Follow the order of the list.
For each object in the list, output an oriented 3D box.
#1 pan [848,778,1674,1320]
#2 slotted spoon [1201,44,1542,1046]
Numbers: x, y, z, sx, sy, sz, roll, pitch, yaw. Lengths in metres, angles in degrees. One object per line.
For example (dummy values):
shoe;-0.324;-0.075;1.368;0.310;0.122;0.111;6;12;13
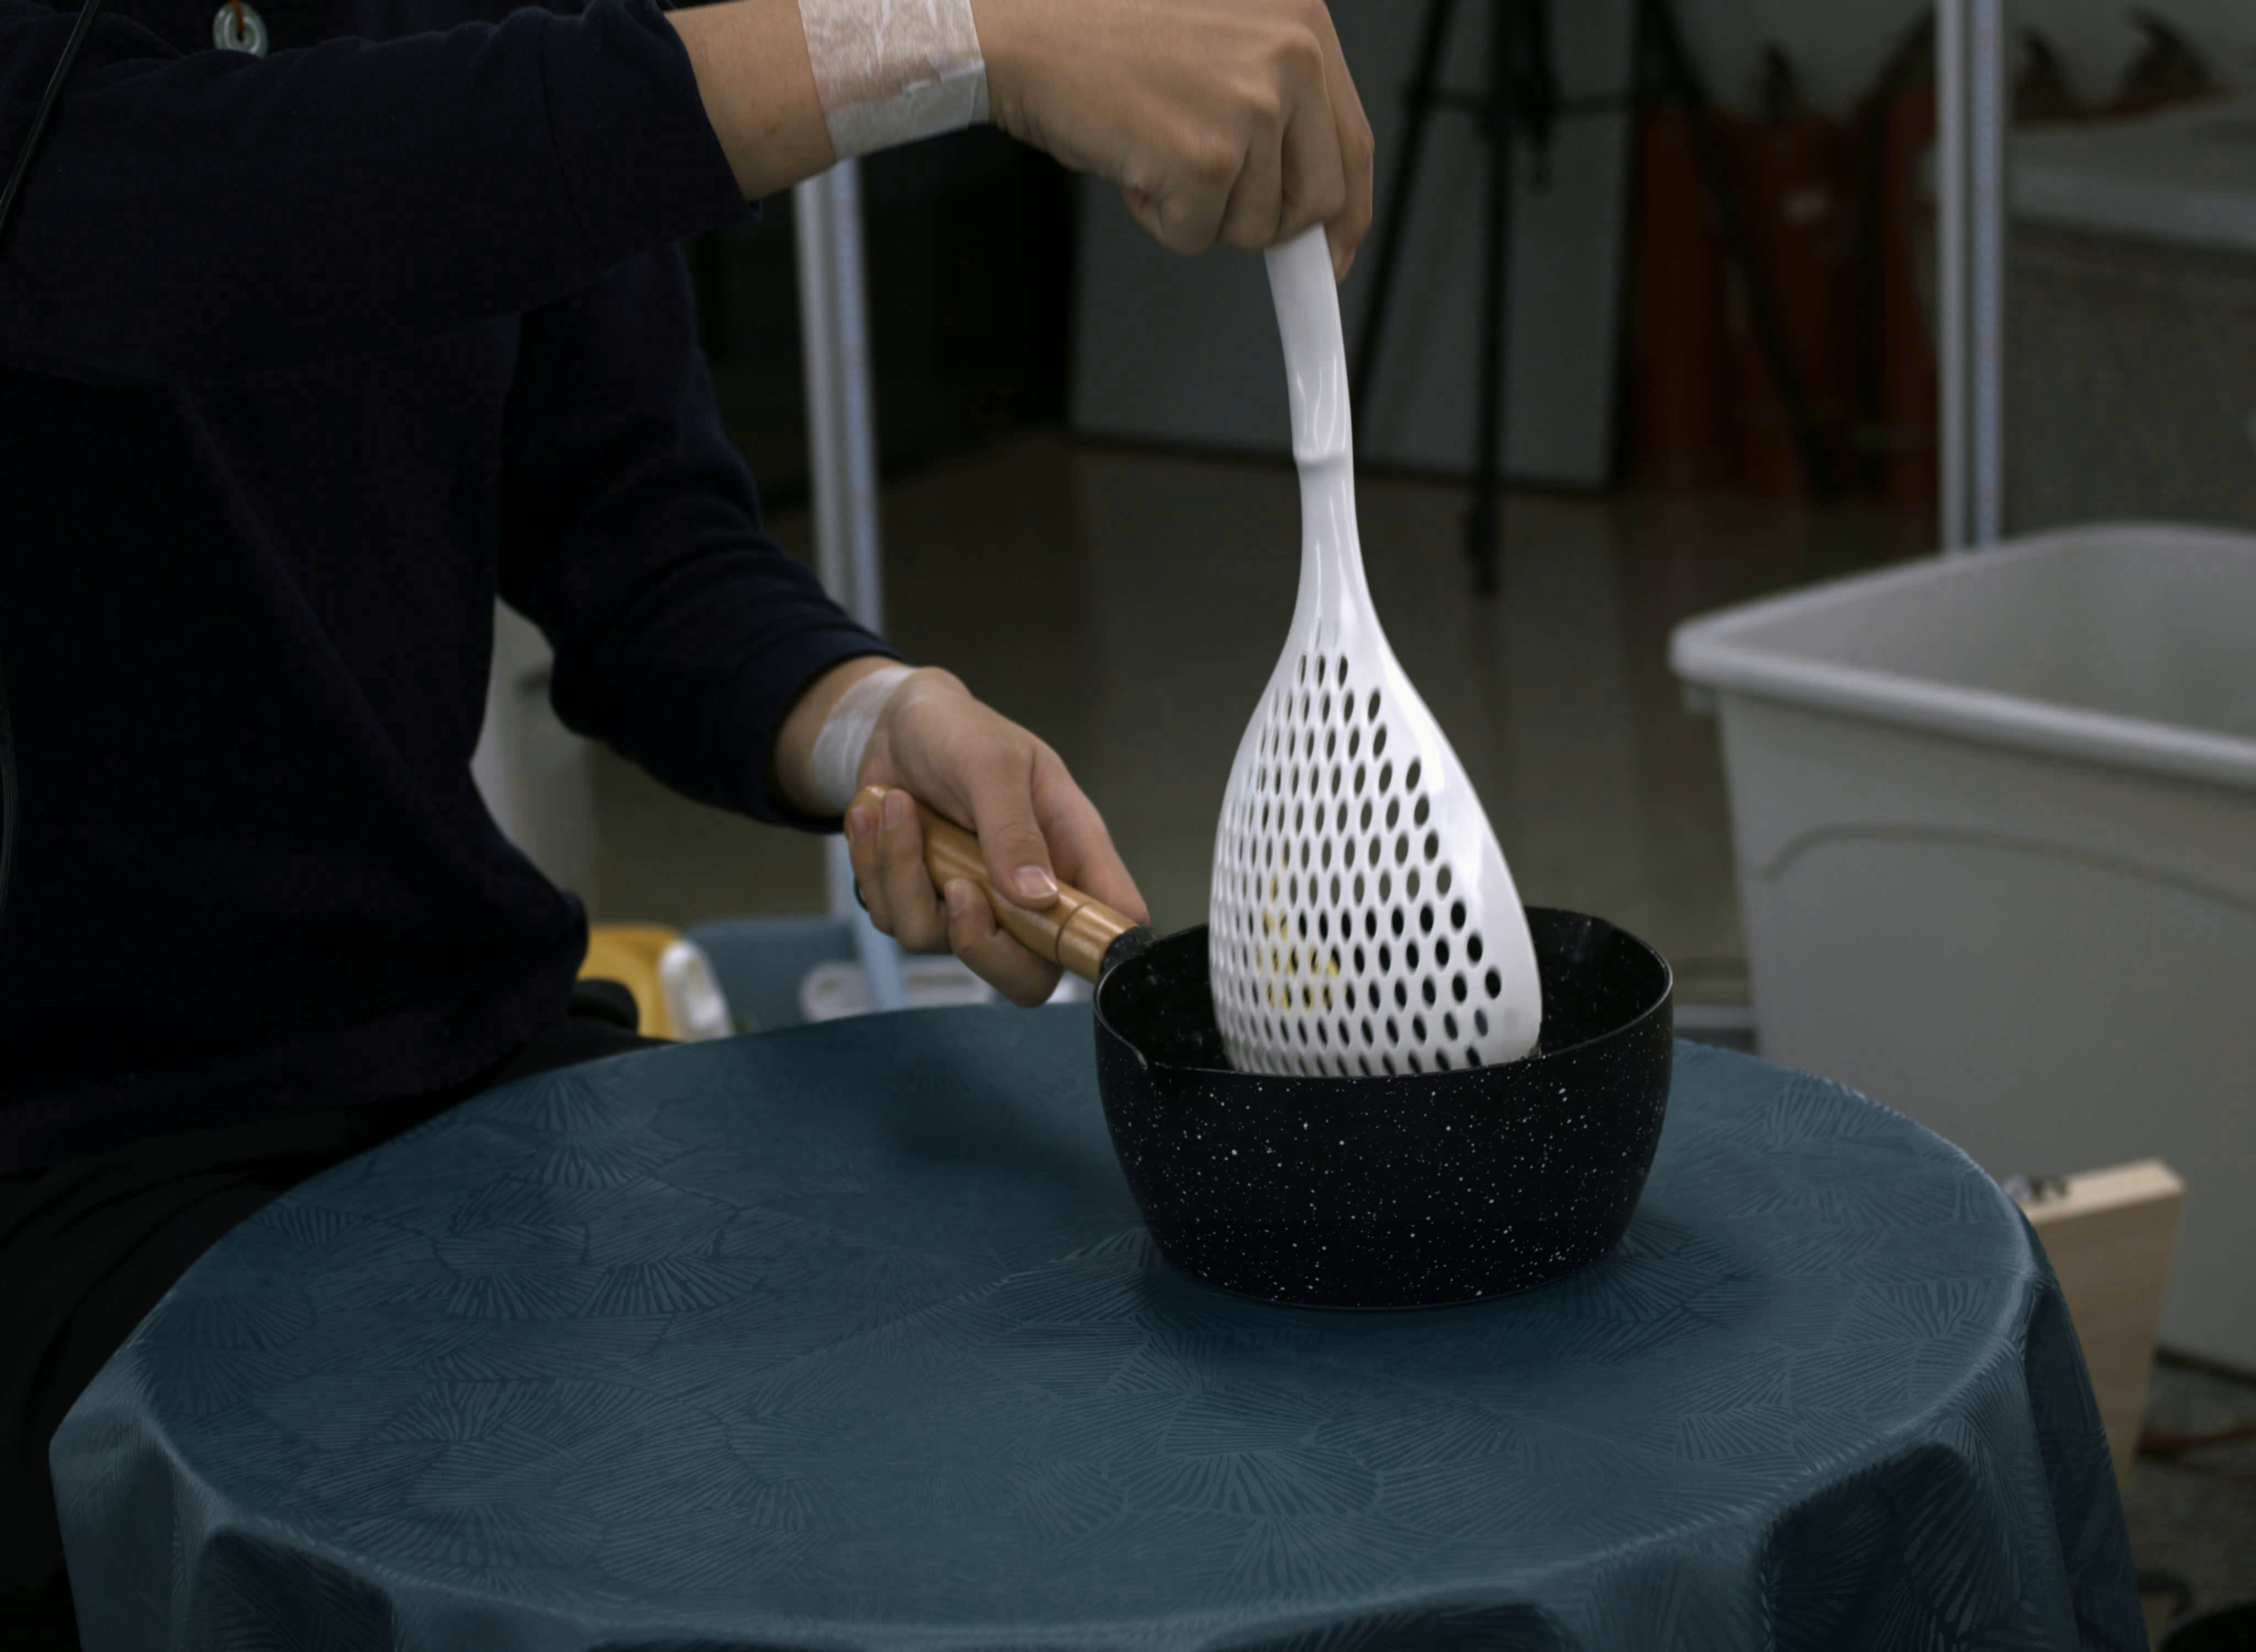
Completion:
pan;0.026;0.065;1.751;0.203;0.109;0.346;-18;22;-41
slotted spoon;0.058;-0.060;1.654;0.138;0.352;0.049;2;5;44
